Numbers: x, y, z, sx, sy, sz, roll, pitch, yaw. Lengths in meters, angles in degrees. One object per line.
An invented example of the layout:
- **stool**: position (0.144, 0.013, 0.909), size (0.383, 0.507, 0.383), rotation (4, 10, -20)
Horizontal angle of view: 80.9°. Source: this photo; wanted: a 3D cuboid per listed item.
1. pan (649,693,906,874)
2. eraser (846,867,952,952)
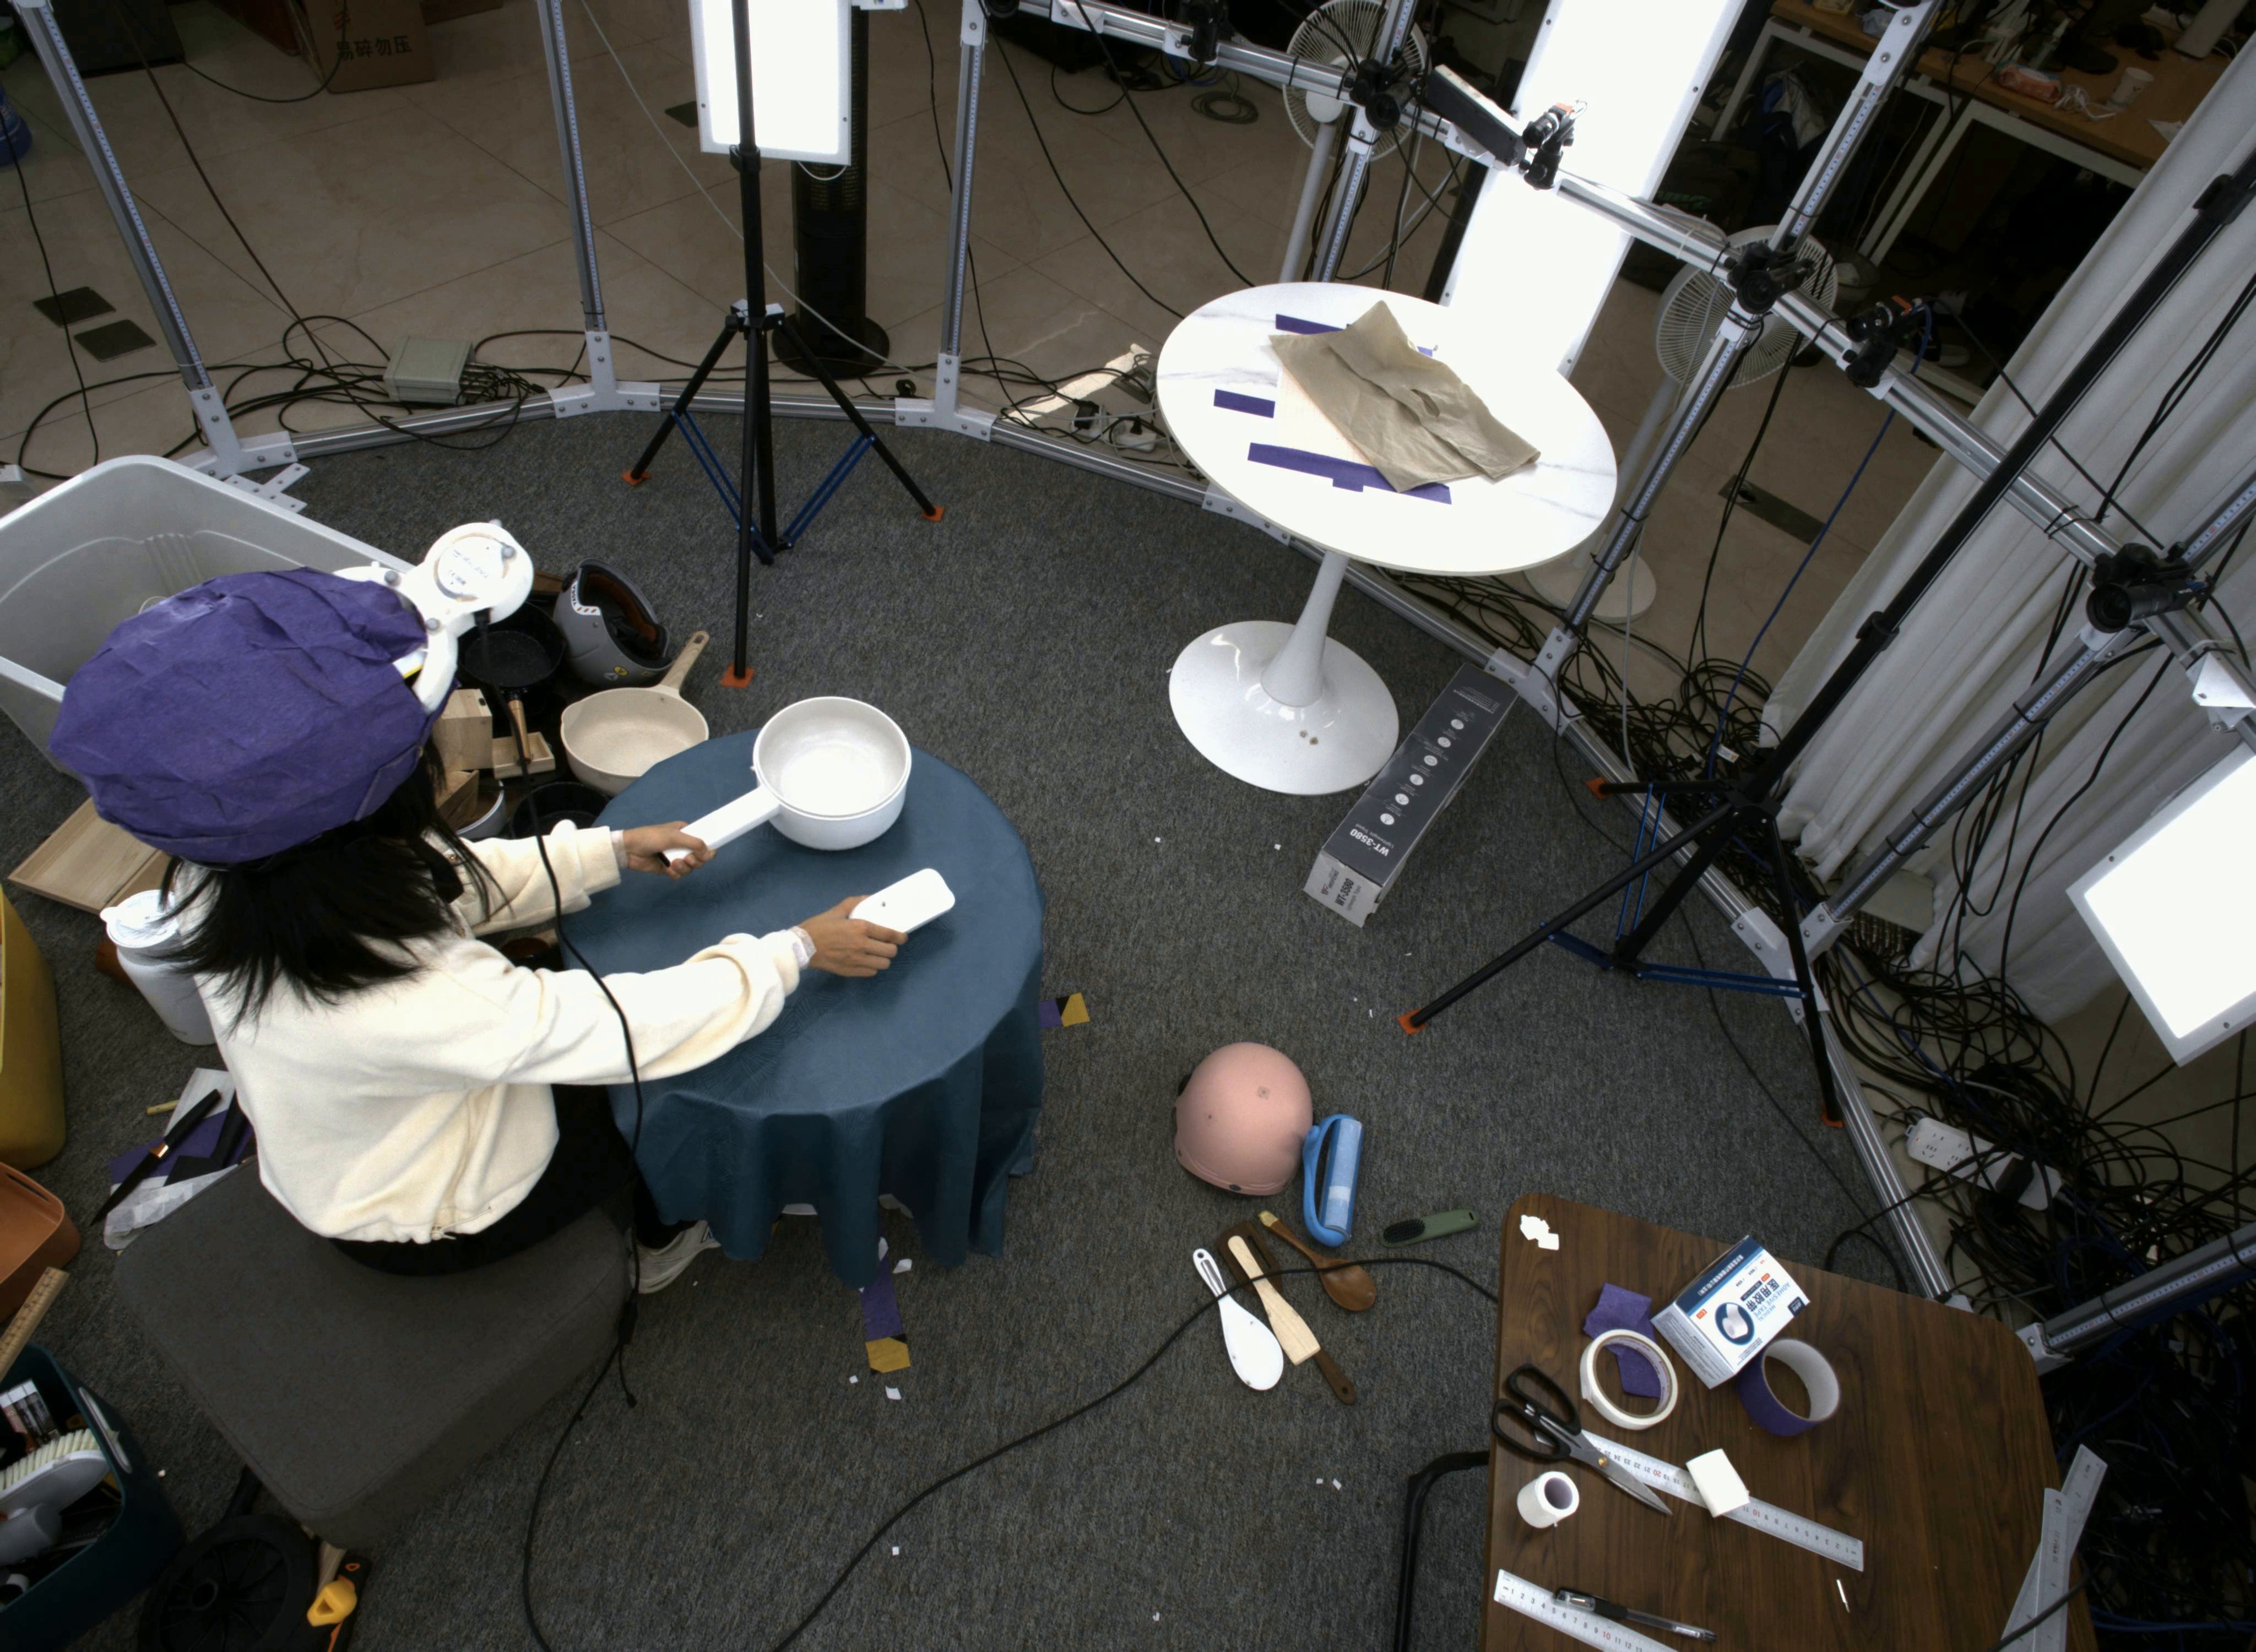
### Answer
- **pan**: position (-0.446, -0.029, 1.663), size (0.197, 0.104, 0.355), rotation (43, 58, 18)
- **eraser**: position (-0.285, 0.100, 1.615), size (0.132, 0.035, 0.062), rotation (-30, 76, -28)
